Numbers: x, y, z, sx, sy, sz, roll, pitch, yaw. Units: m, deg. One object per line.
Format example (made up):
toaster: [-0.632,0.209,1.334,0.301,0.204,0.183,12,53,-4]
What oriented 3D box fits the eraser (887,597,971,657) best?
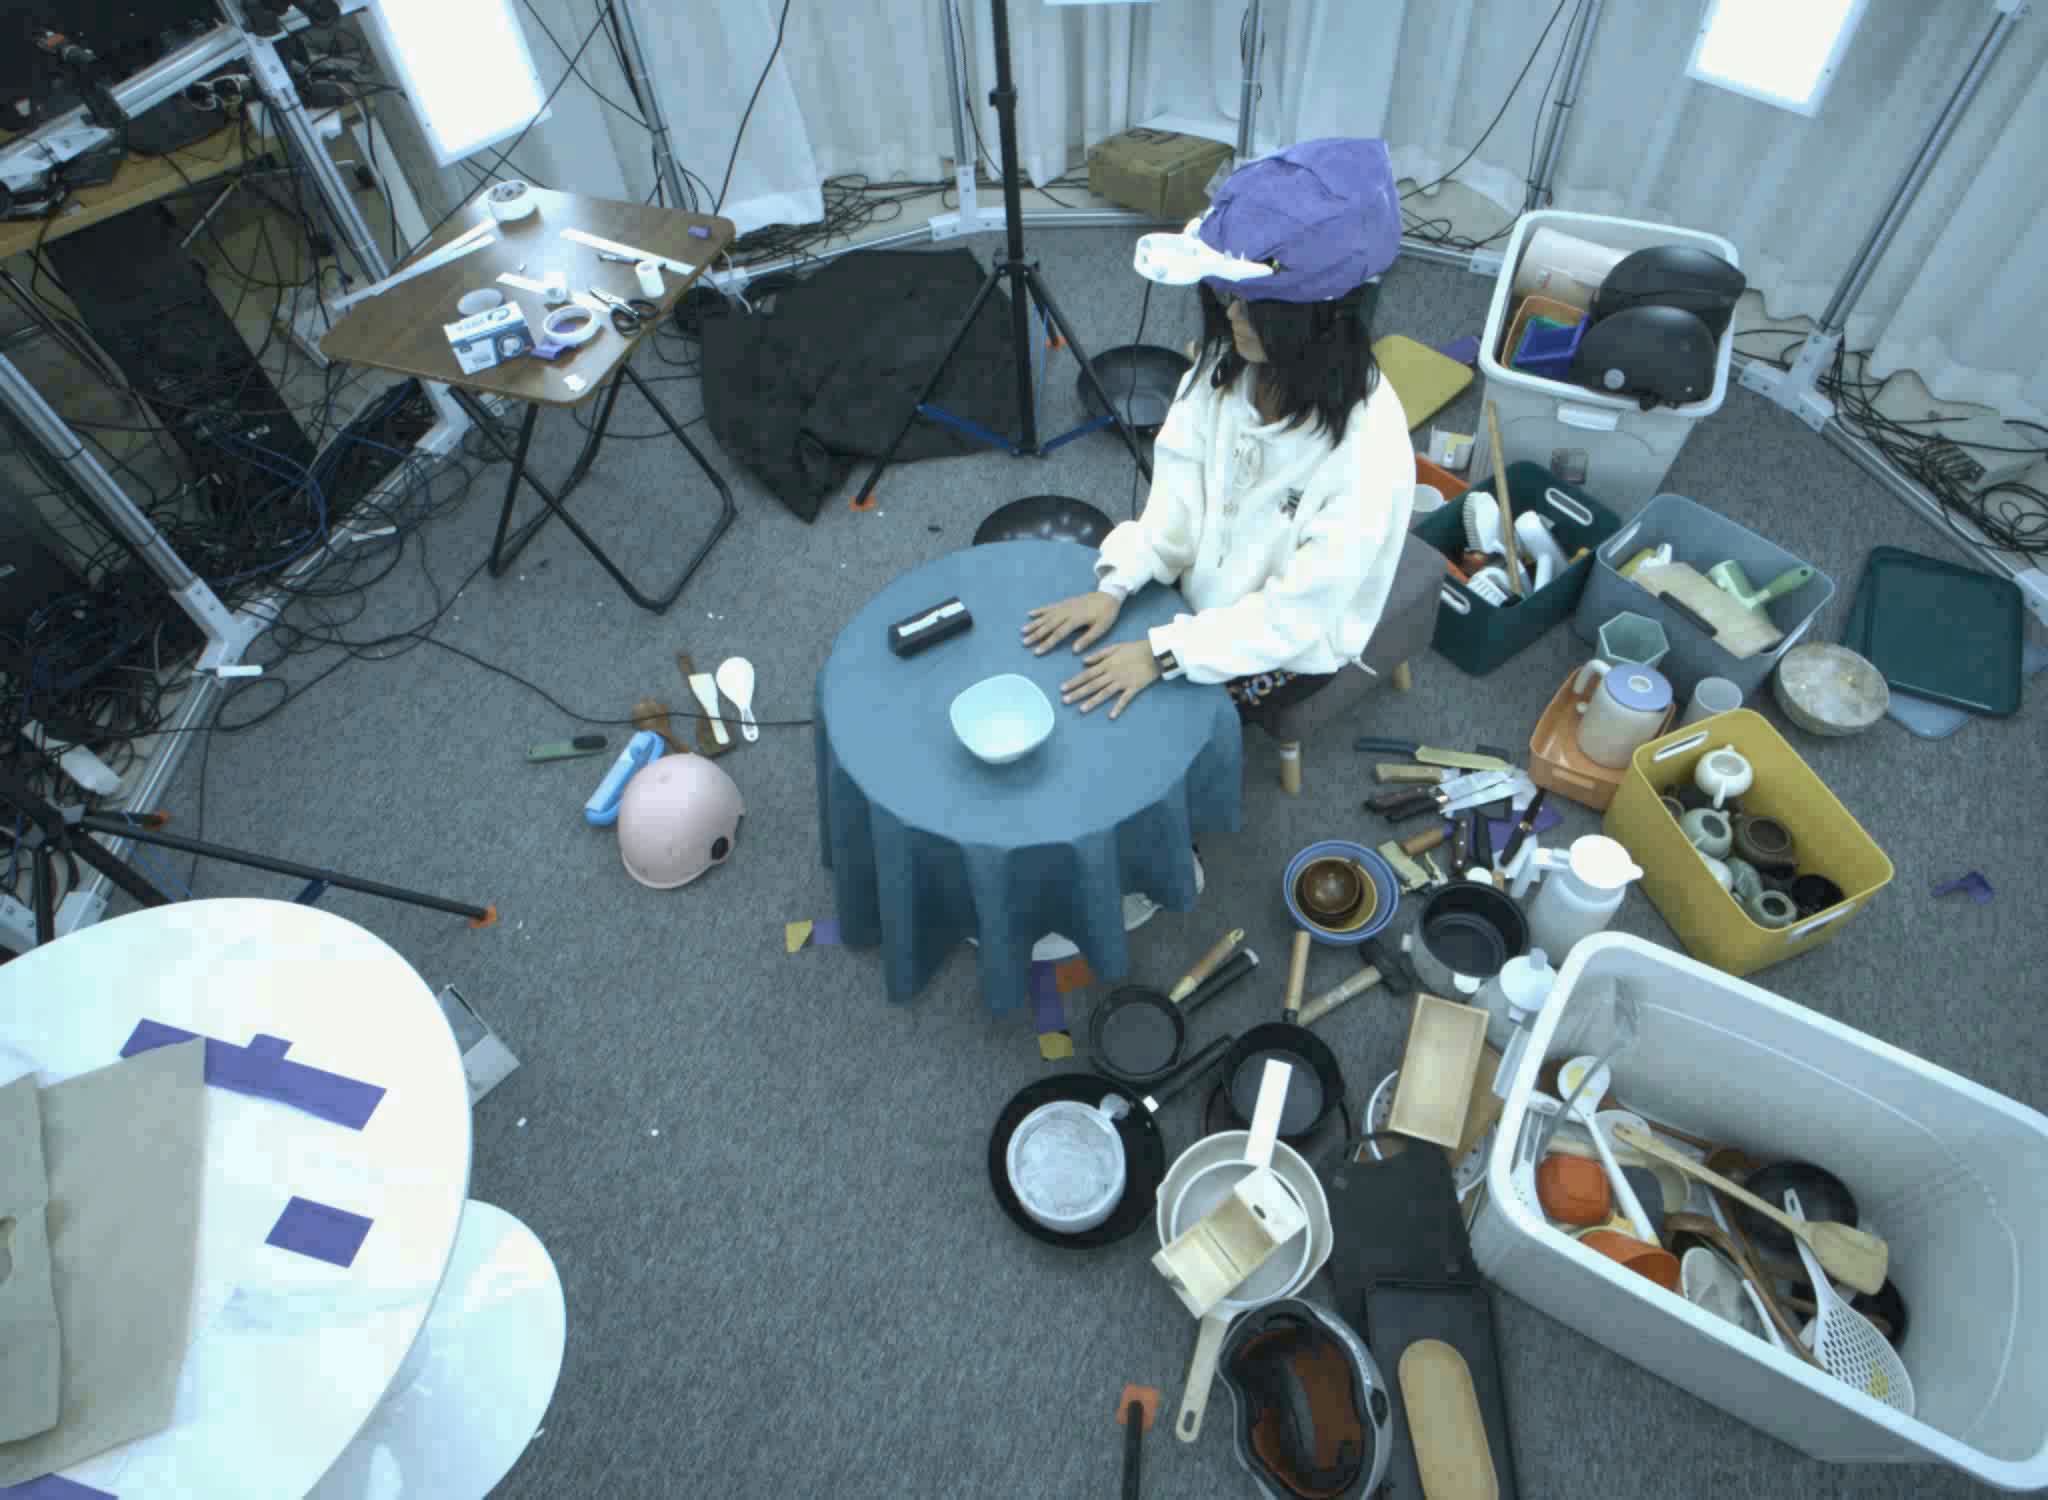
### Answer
eraser: [-0.148,-0.193,1.913,0.126,0.031,0.052,-27,59,-19]

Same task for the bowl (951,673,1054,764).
bowl: [-0.030,-0.035,1.780,0.151,0.059,0.150,0,57,1]
